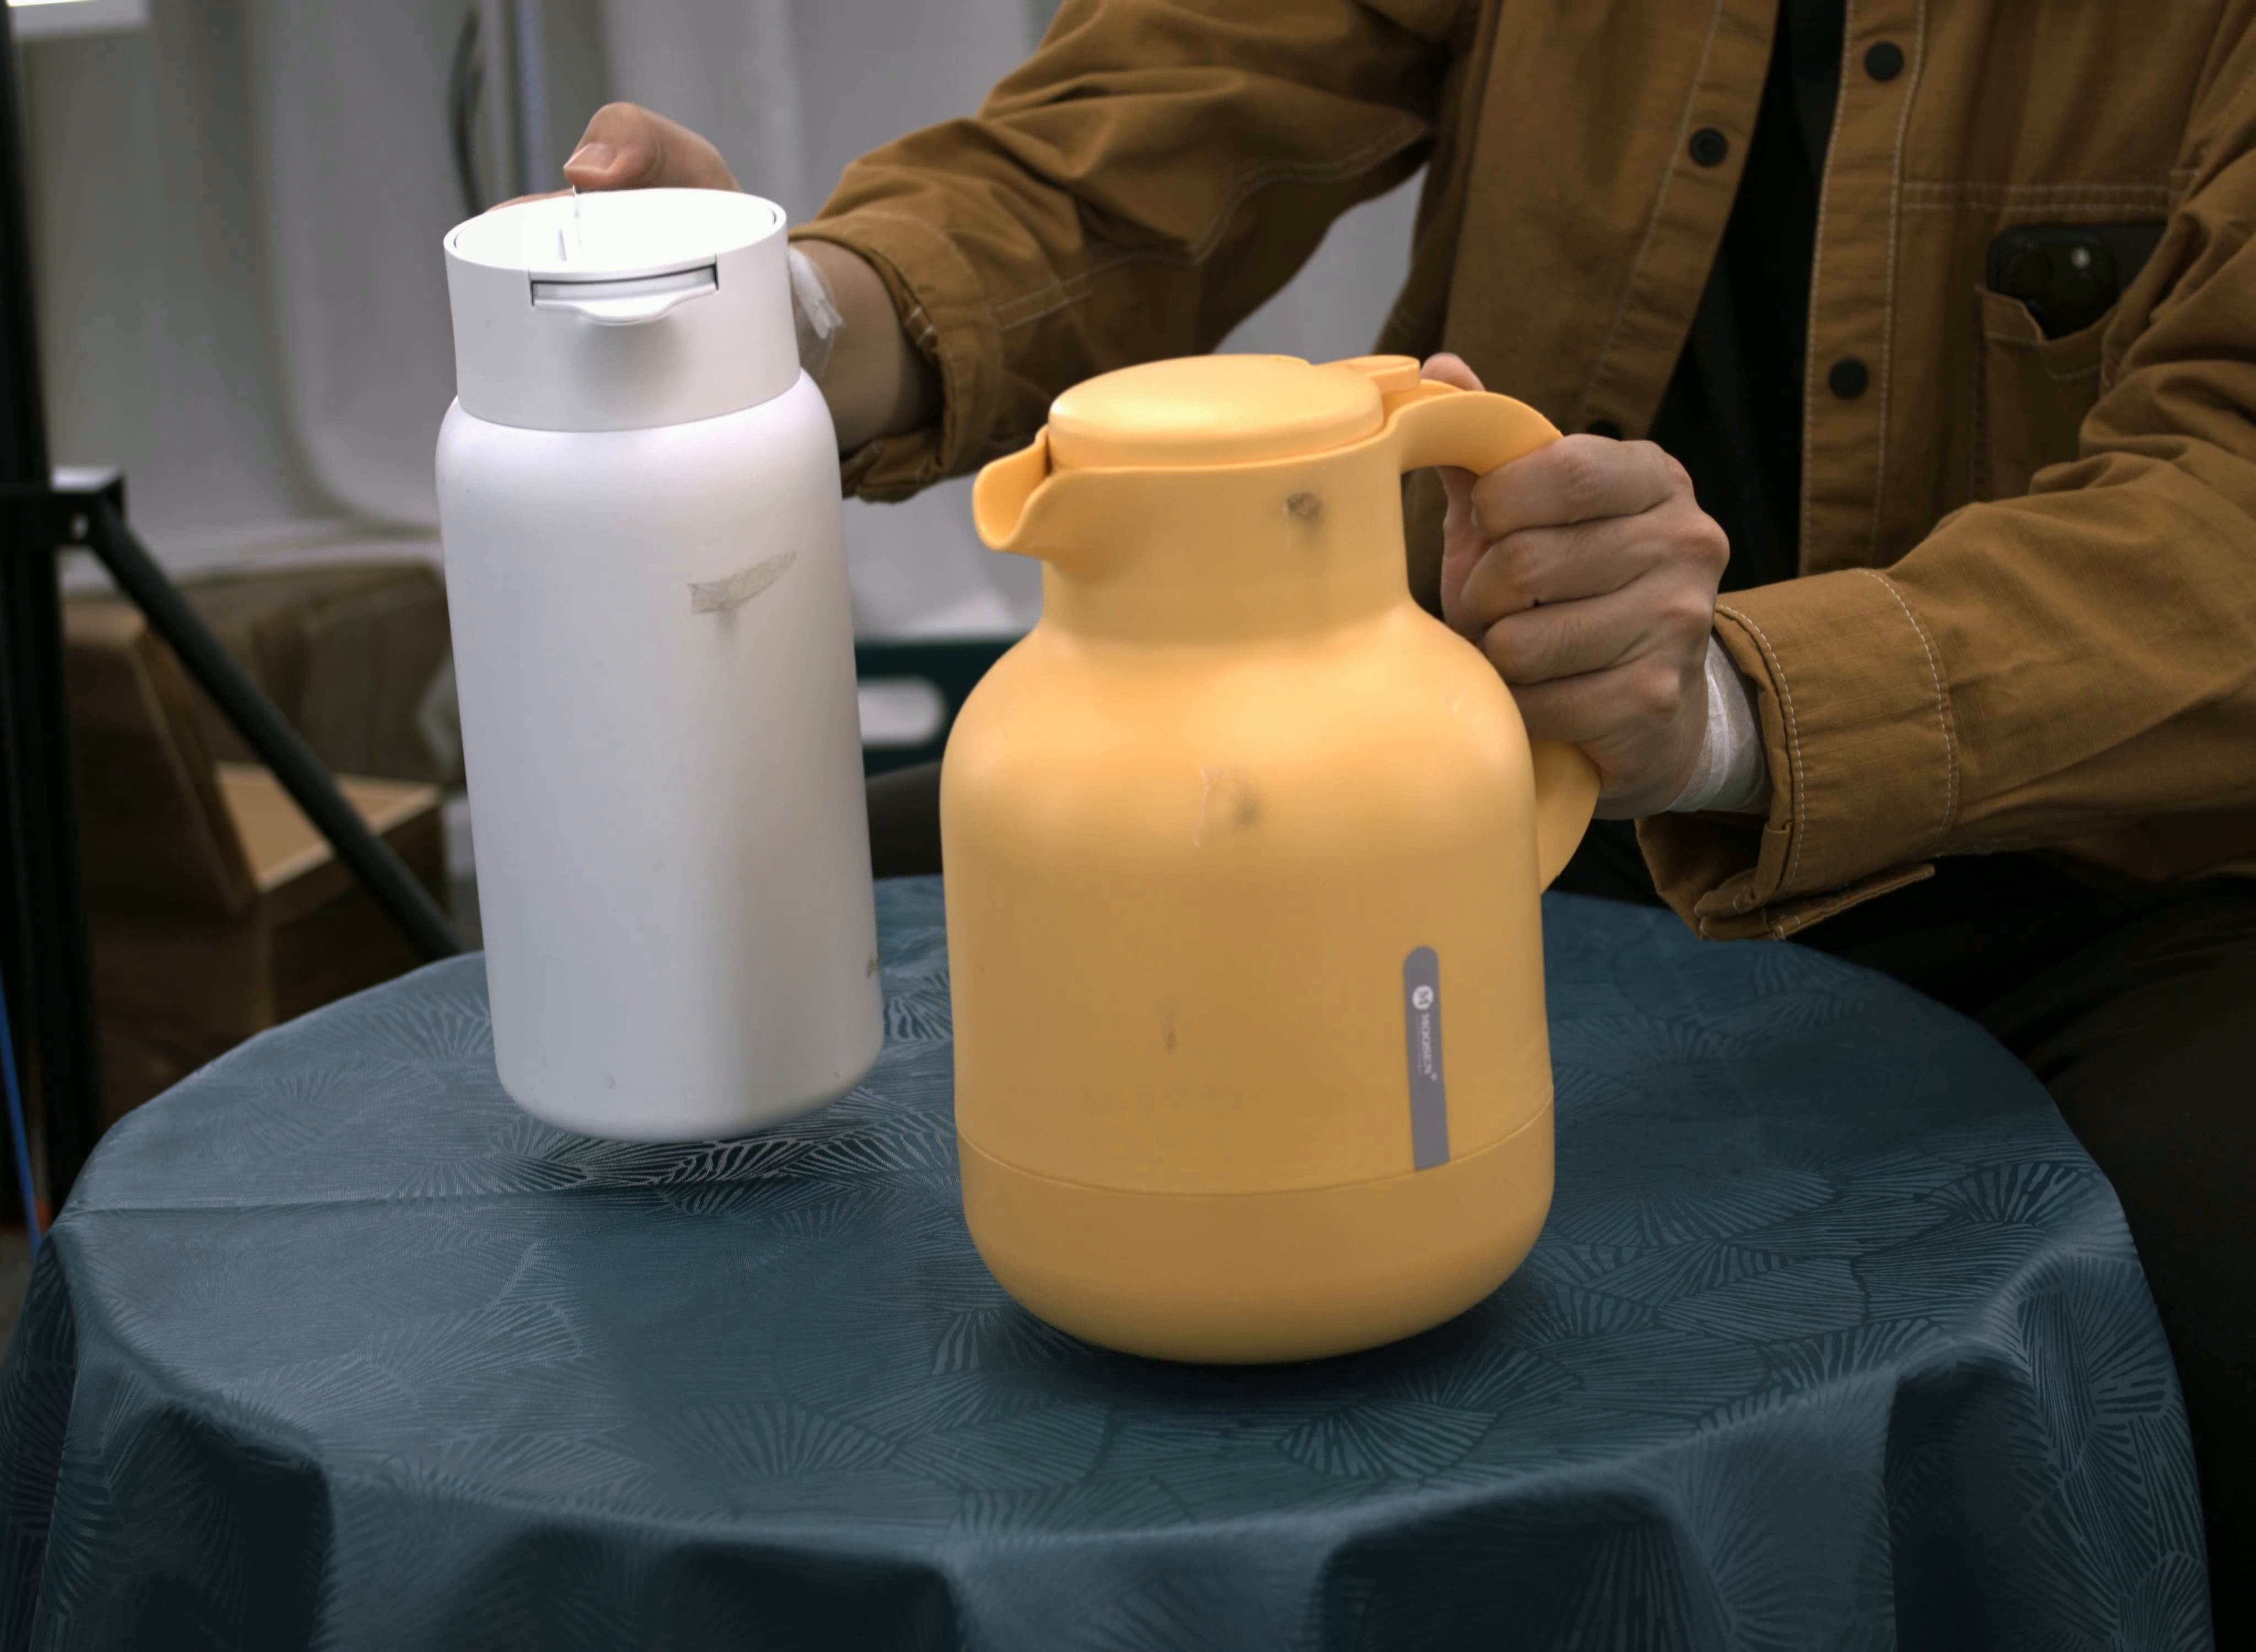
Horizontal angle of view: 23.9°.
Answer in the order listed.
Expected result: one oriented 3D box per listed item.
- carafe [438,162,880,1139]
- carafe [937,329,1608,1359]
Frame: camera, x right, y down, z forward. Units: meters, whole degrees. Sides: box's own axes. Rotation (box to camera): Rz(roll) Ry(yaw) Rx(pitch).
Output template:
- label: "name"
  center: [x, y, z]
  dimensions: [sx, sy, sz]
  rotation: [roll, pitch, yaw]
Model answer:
- label: "carafe"
  center: [-0.142, -0.055, 1.582]
  dimensions: [0.123, 0.268, 0.174]
  rotation: [-7, 19, -5]
- label: "carafe"
  center: [0.047, -0.002, 1.428]
  dimensions: [0.198, 0.260, 0.167]
  rotation: [-15, 21, -29]
